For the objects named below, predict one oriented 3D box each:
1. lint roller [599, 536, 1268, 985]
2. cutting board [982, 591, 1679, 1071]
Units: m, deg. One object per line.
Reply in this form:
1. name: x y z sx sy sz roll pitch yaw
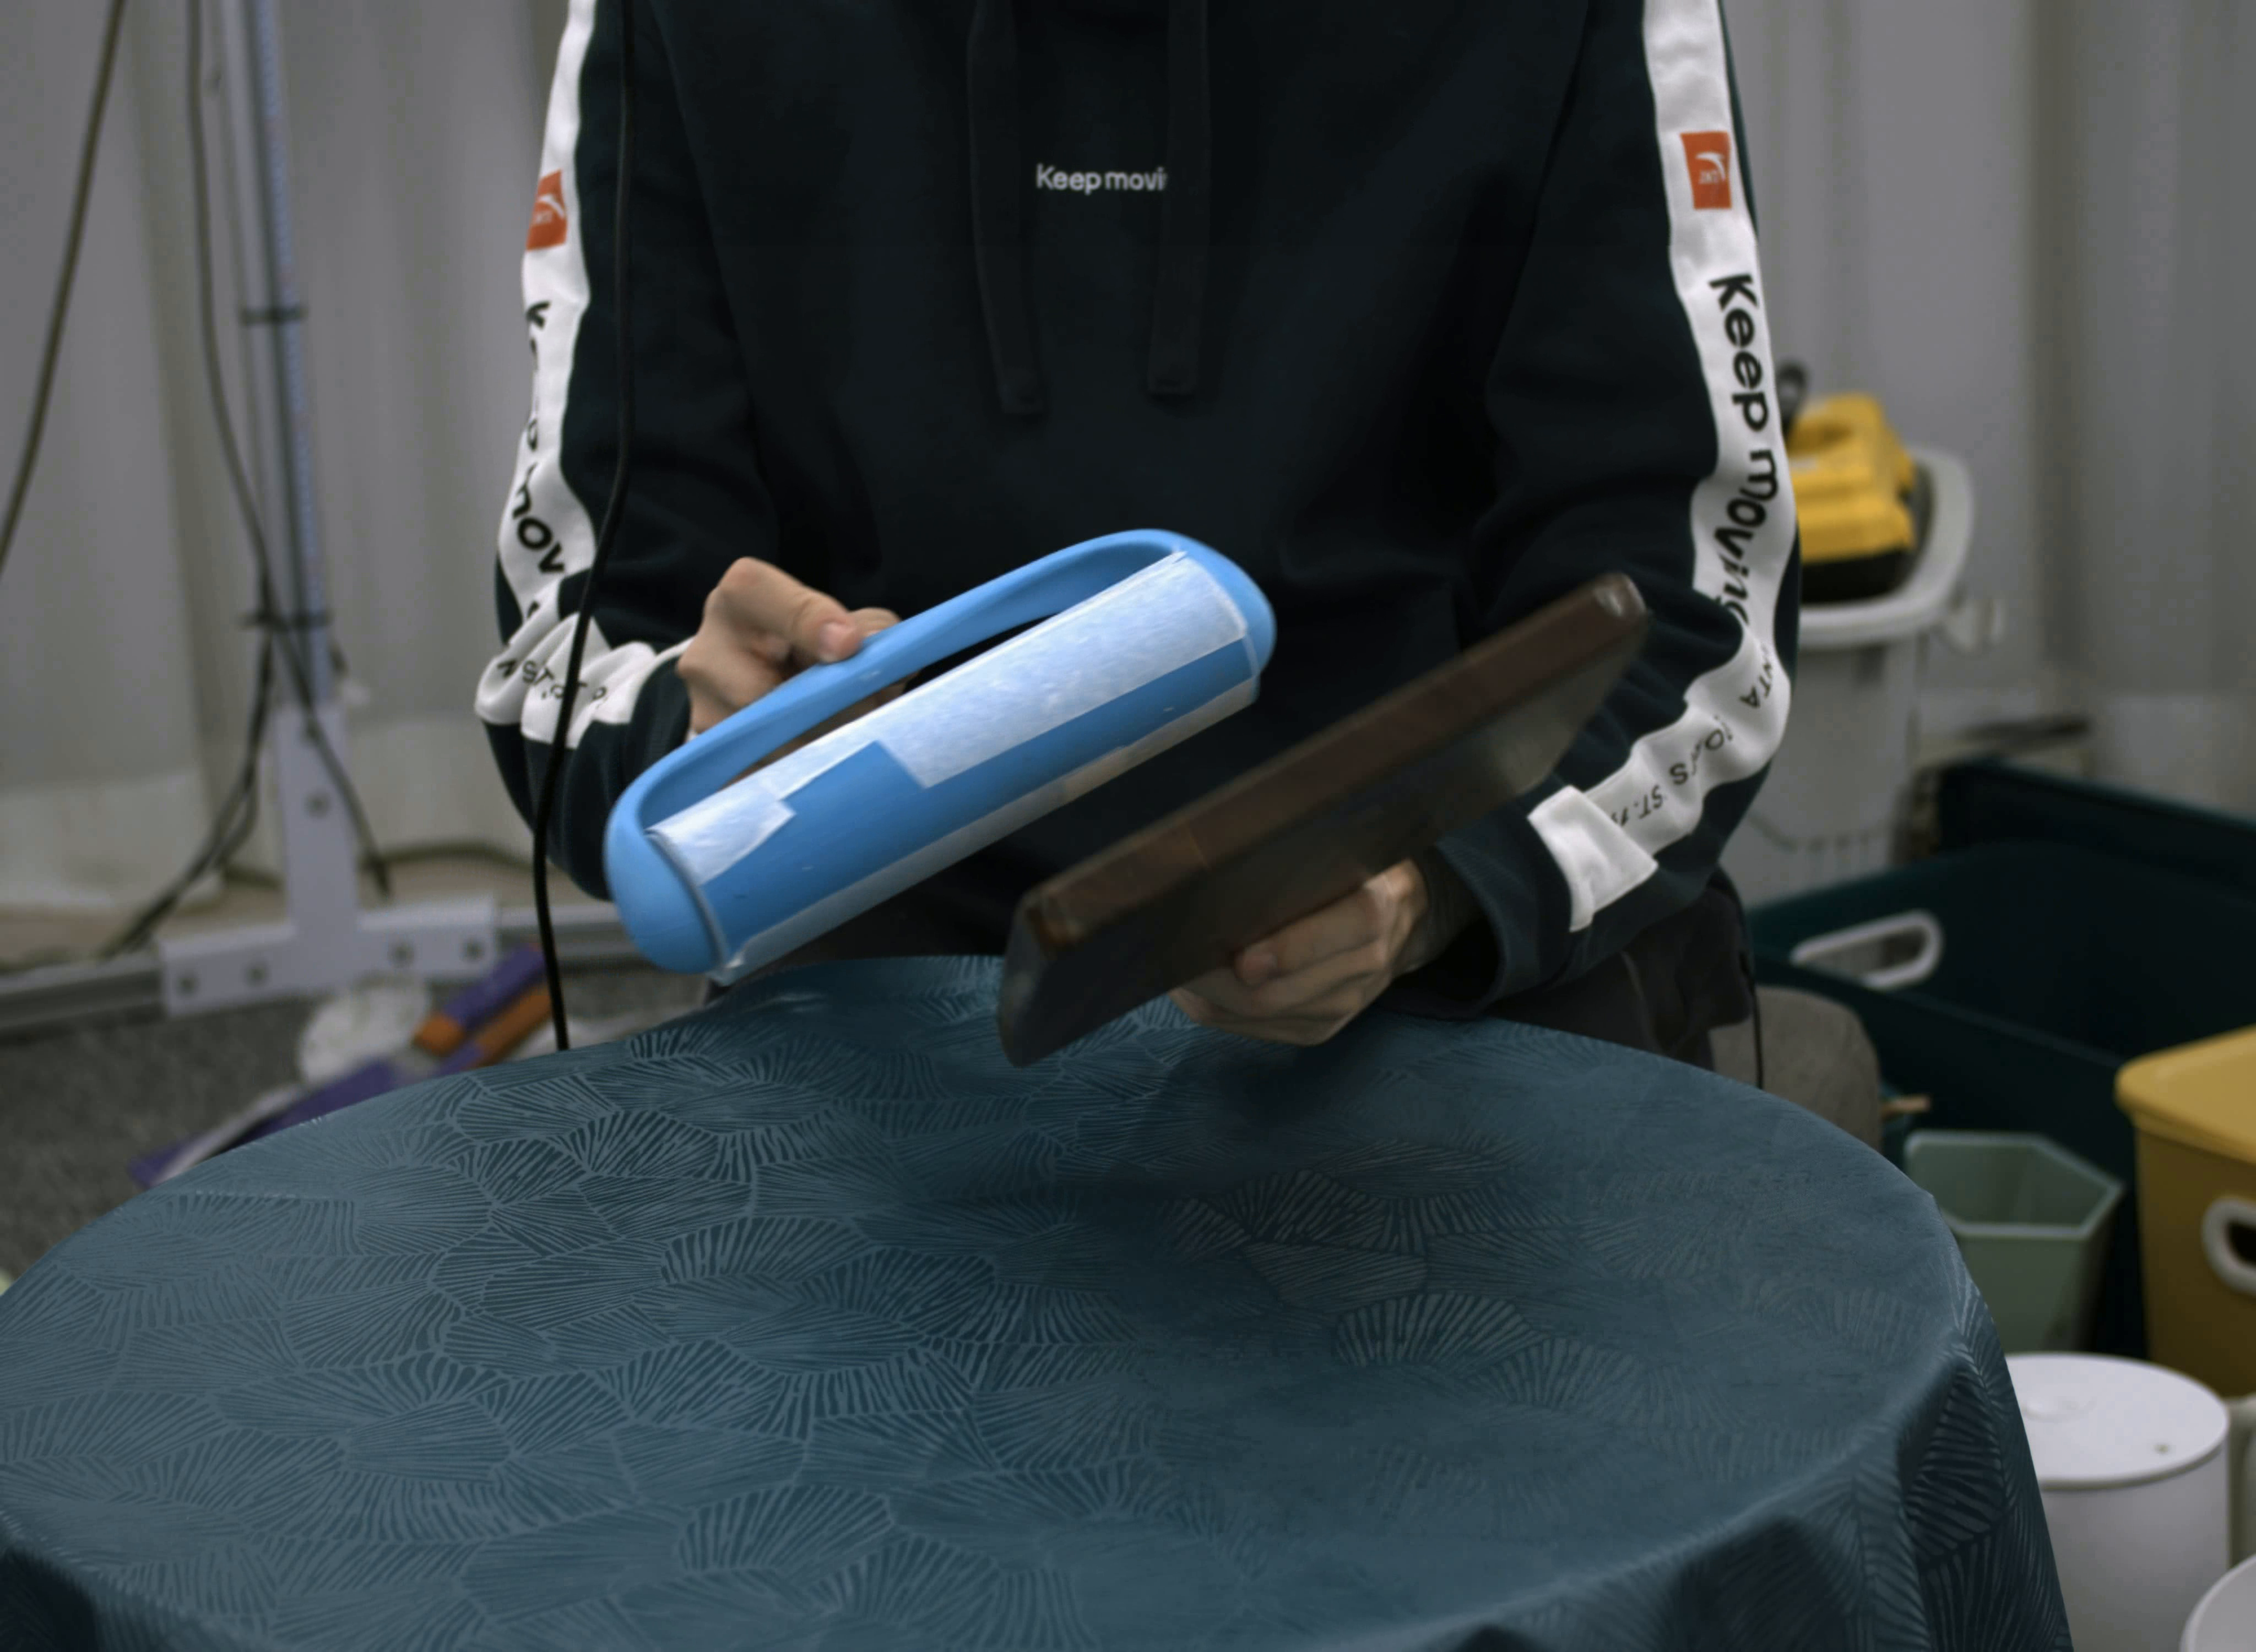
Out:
1. lint roller: -0.081 -0.024 1.738 0.229 0.067 0.181 -30 17 -20
2. cutting board: 0.050 0.014 1.664 0.201 0.023 0.350 -28 -6 -8
